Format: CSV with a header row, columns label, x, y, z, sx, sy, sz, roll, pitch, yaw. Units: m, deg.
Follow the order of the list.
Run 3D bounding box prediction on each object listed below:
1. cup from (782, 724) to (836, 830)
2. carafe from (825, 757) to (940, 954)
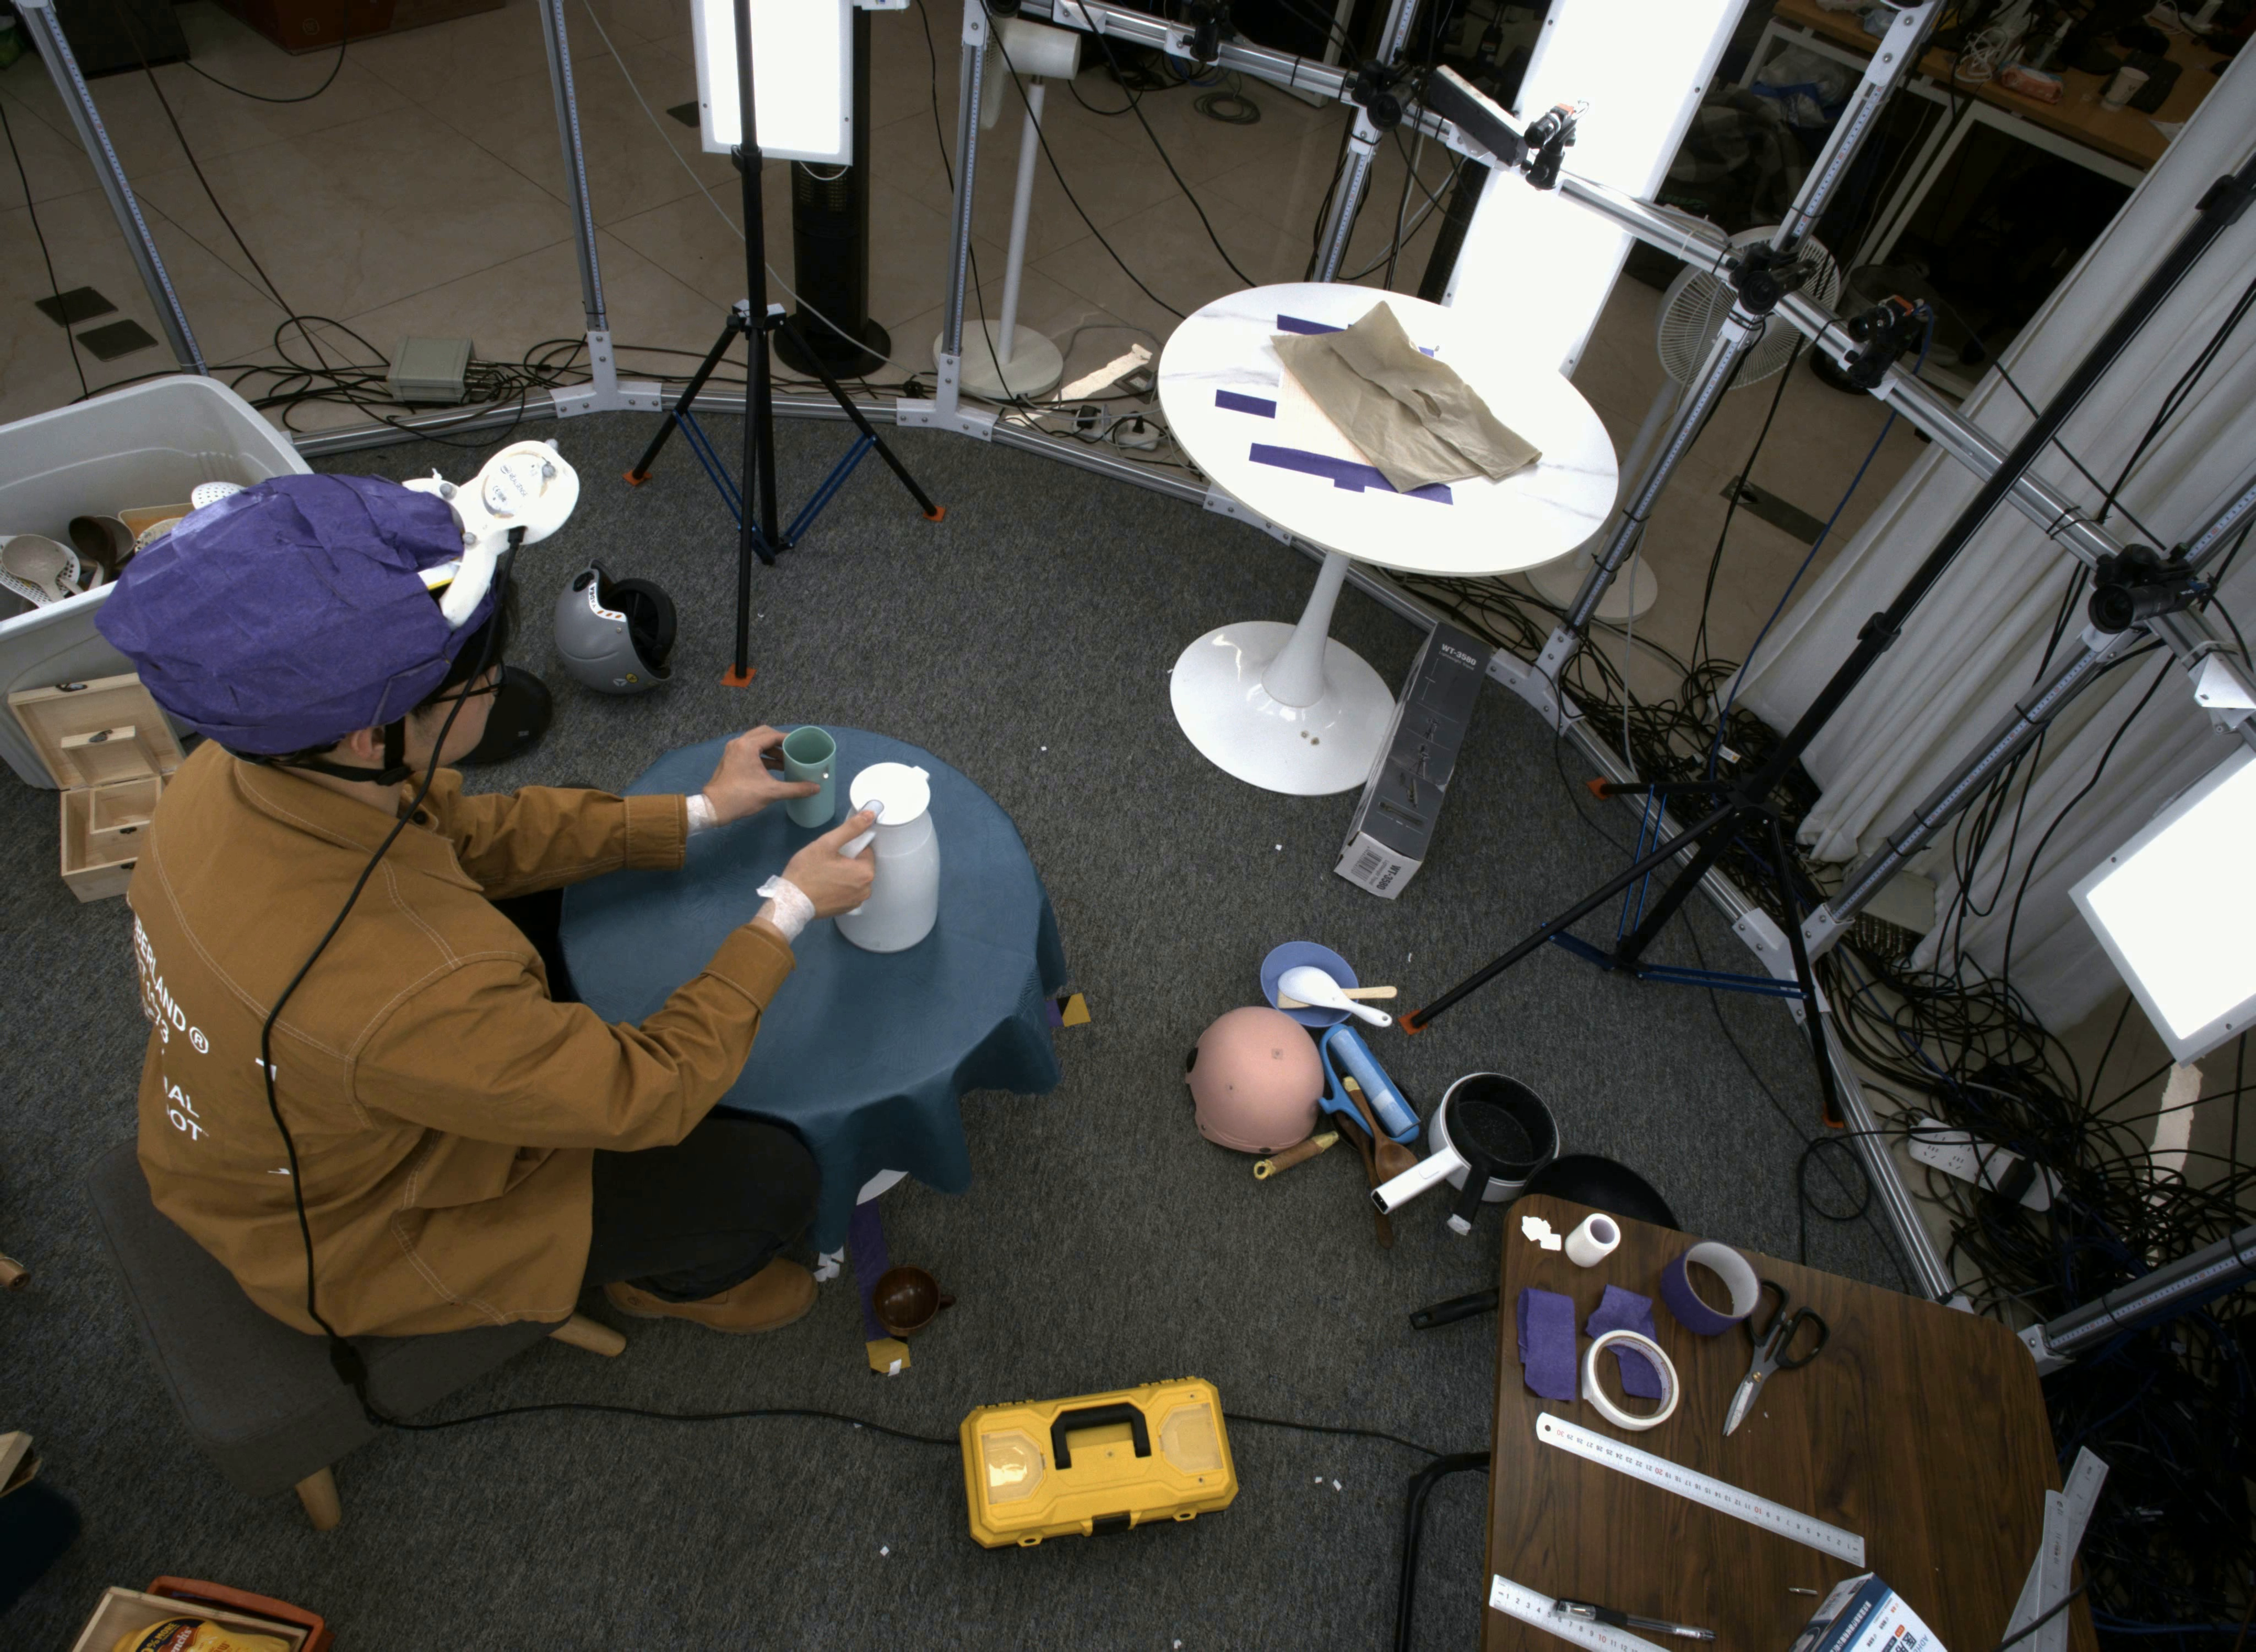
label,x,y,z,sx,sy,sz,roll,pitch,yaw
cup,-0.416,-0.062,1.690,0.066,0.135,0.065,7,51,-7
carafe,-0.300,0.042,1.562,0.130,0.254,0.167,30,53,12
